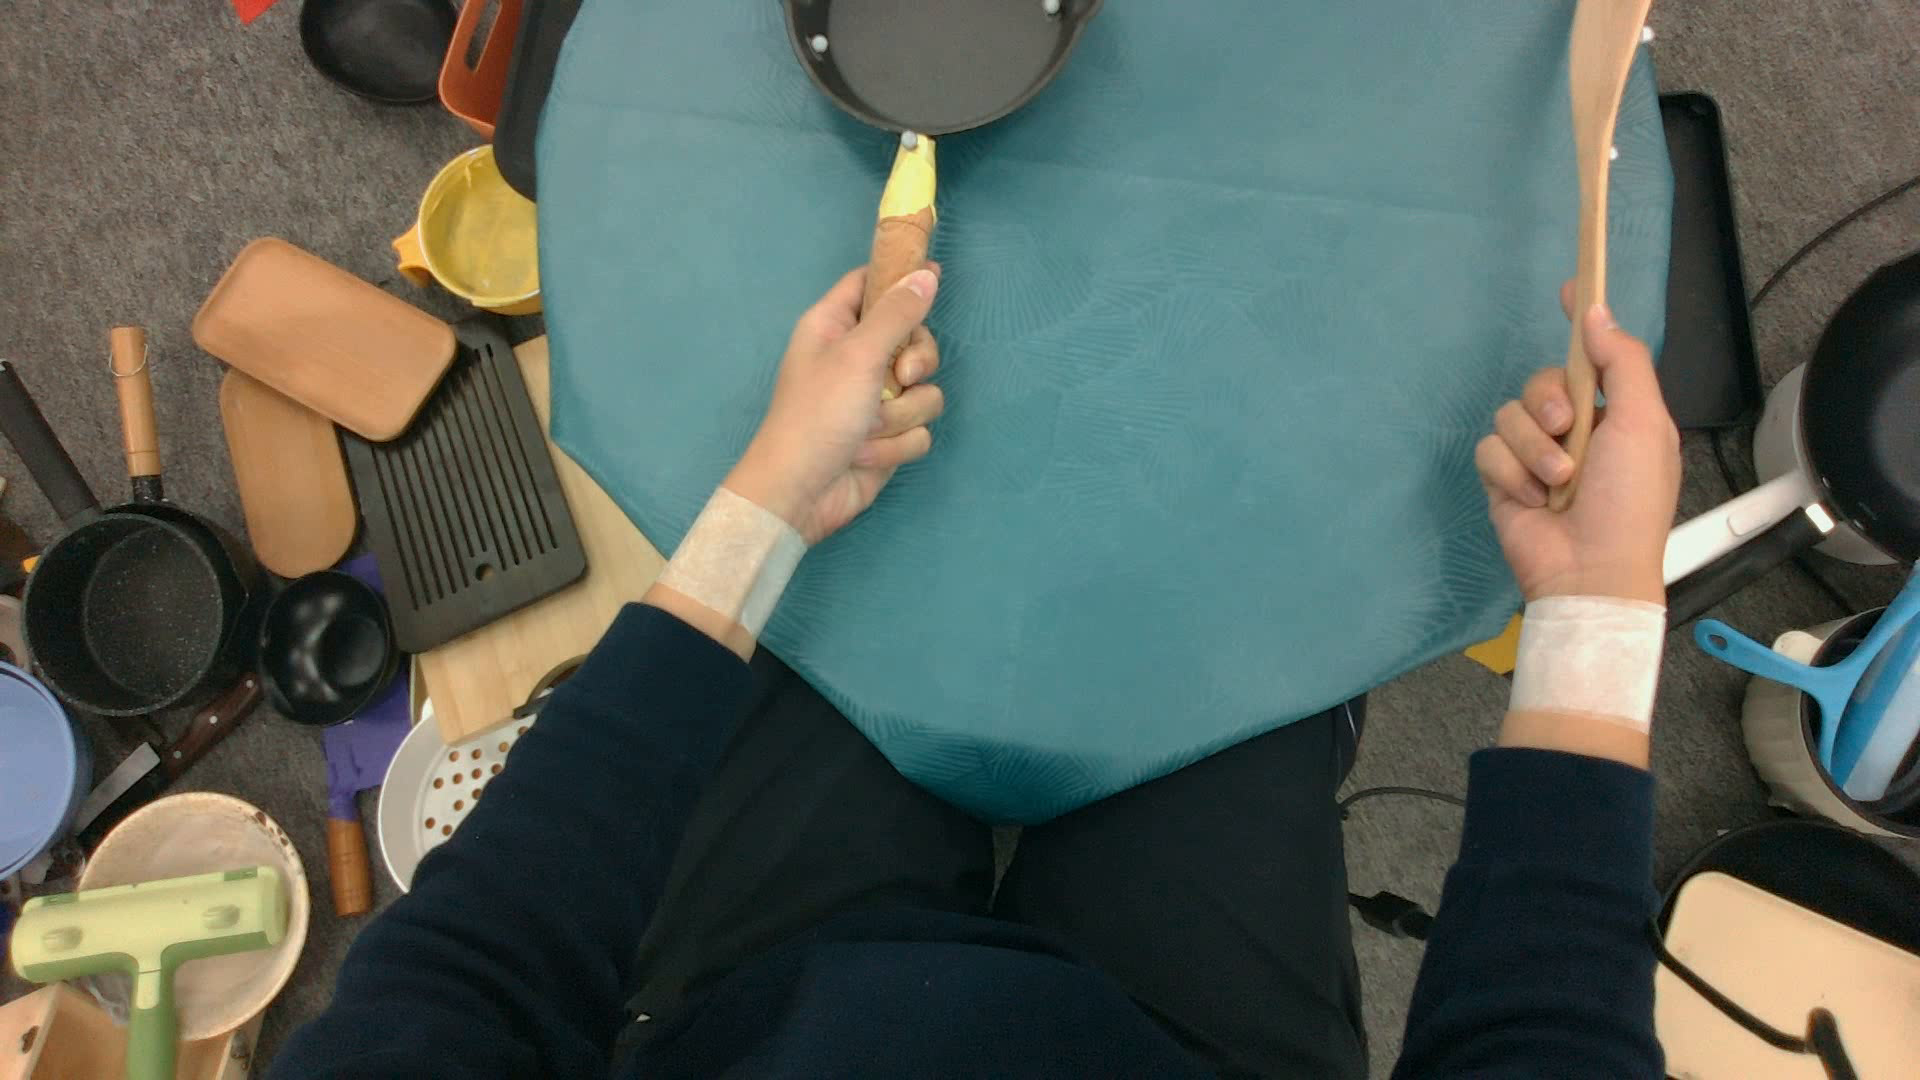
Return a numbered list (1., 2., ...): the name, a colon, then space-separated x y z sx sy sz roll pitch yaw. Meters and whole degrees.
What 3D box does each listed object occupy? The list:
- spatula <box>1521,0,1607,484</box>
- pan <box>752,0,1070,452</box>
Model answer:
1. spatula: 0.296 -0.181 0.667 0.016 0.080 0.328 12 75 -4
2. pan: -0.038 -0.198 0.691 0.169 0.049 0.325 7 79 8
